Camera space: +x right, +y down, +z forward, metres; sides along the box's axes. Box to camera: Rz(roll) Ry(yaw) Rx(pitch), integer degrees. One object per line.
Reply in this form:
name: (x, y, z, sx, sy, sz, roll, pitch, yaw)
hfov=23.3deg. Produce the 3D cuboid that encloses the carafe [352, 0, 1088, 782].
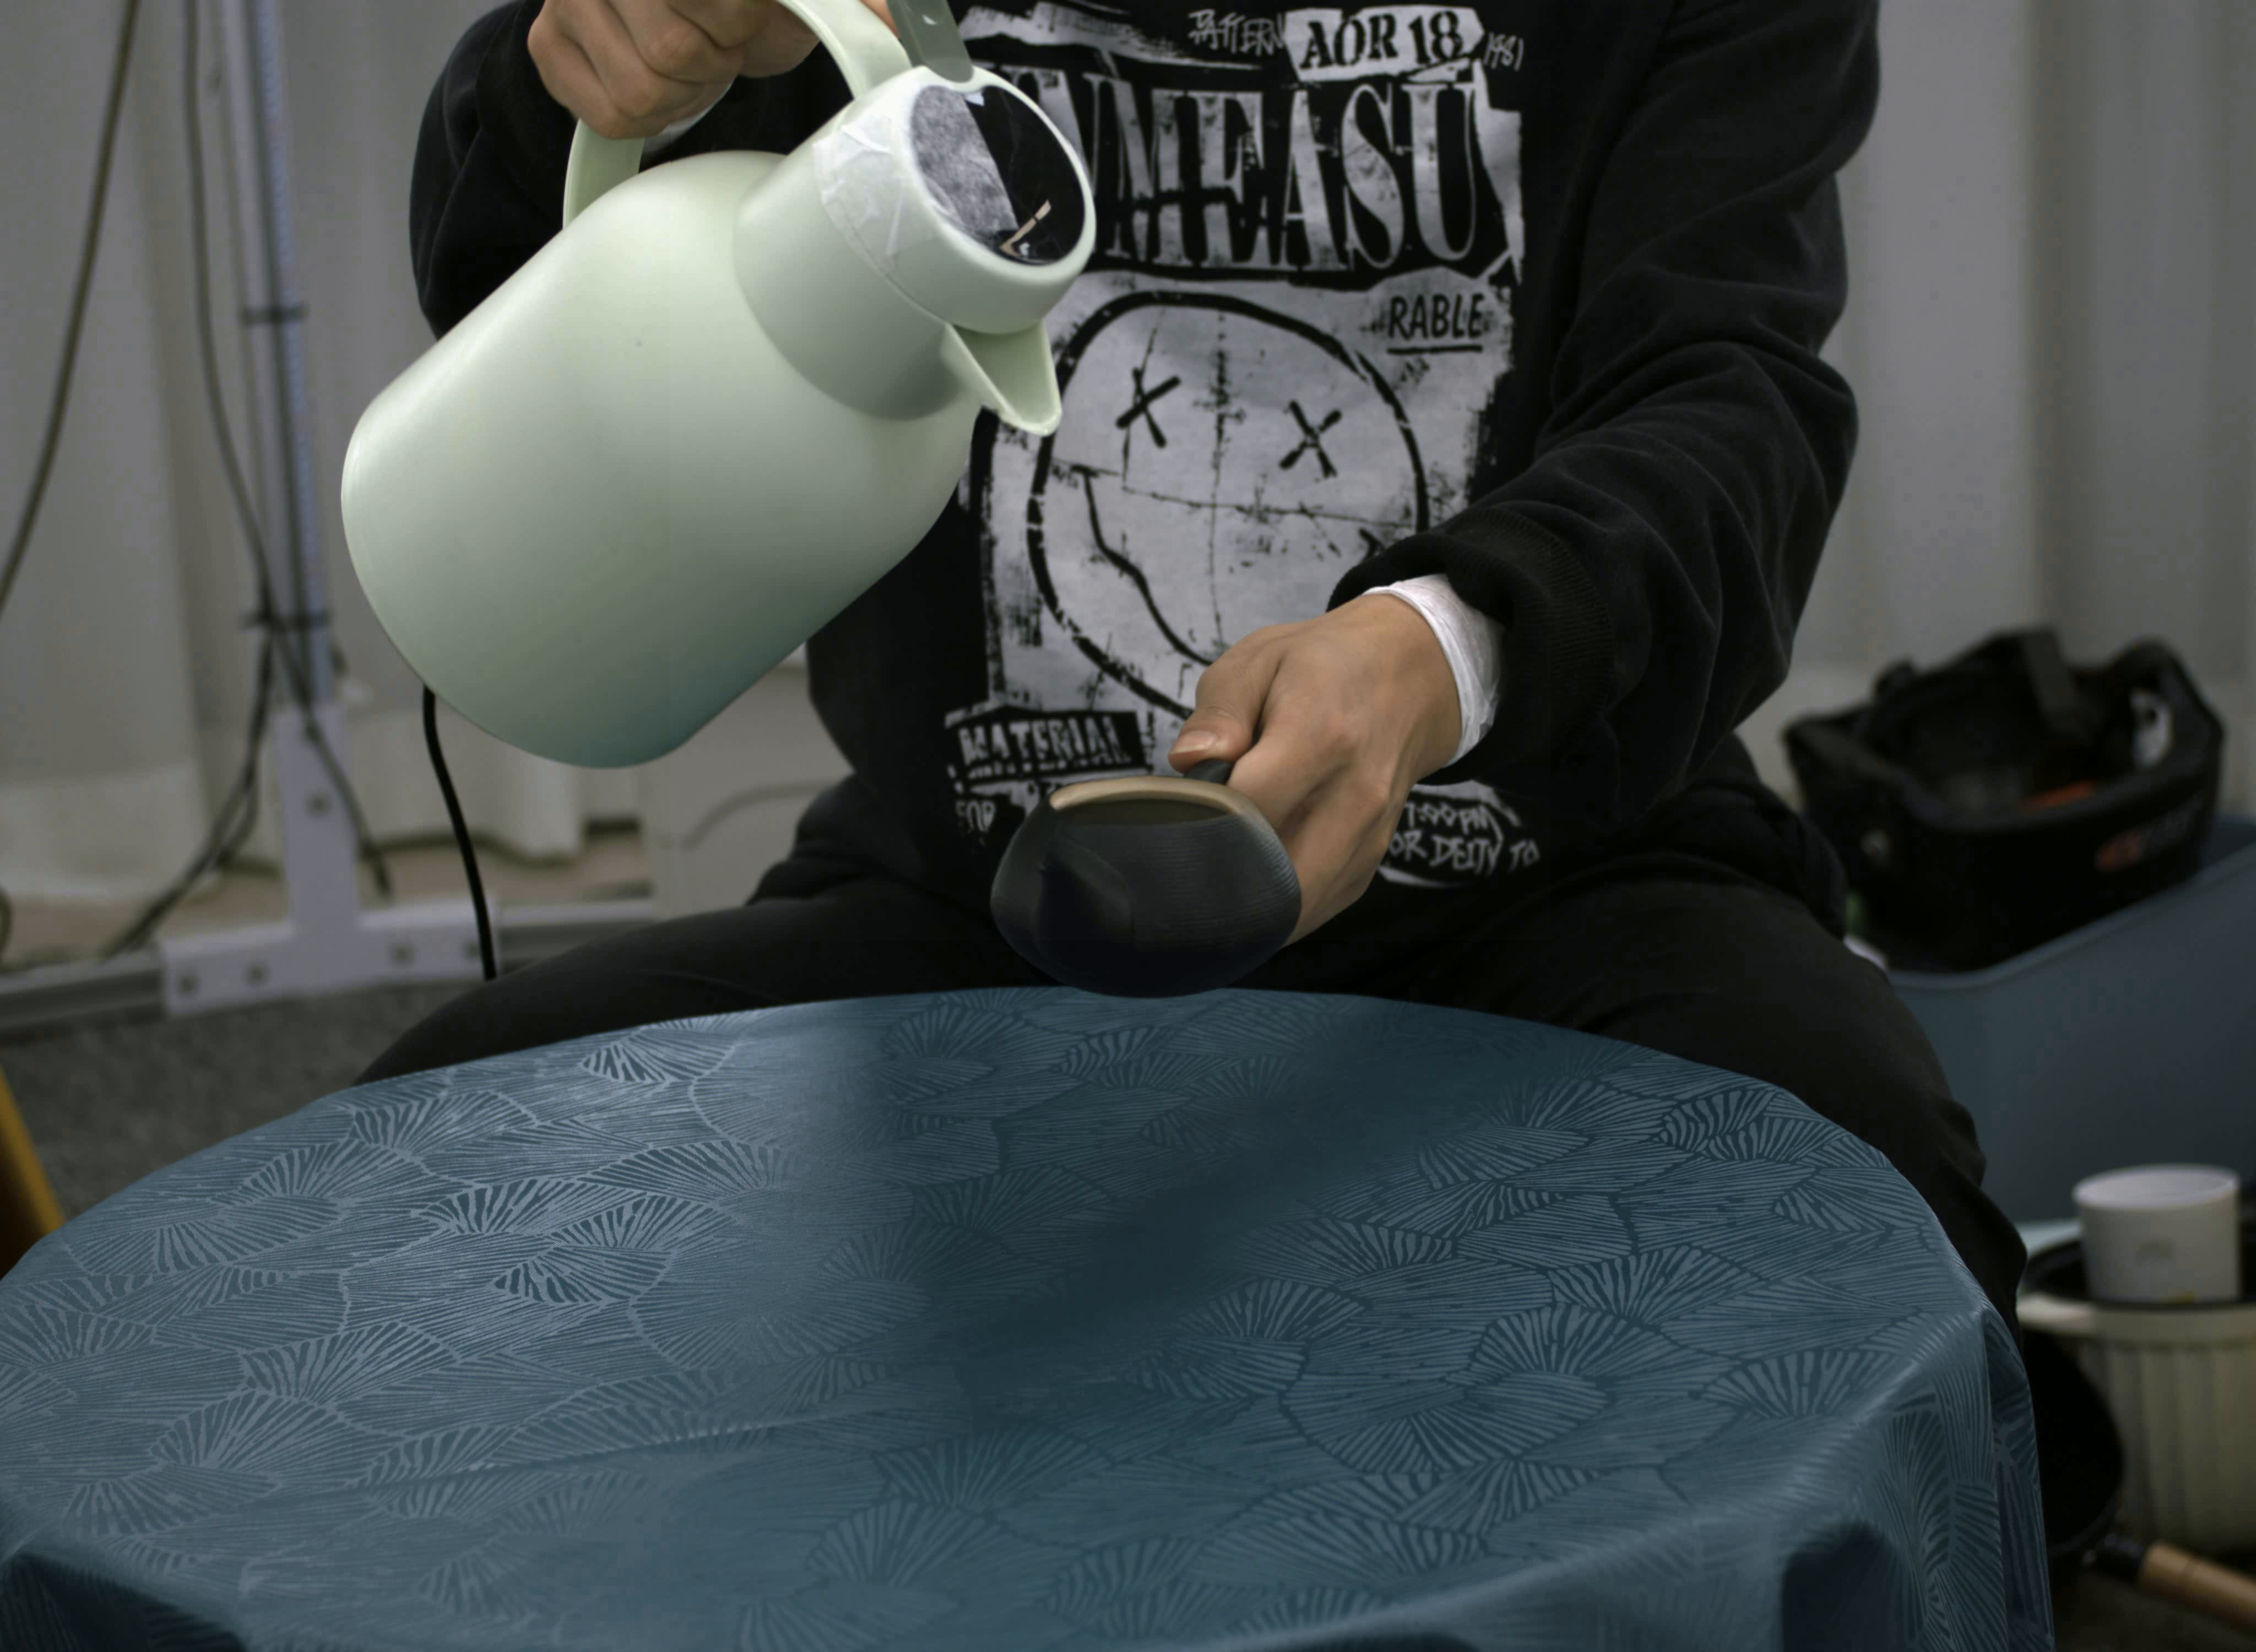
carafe: (-0.121, -0.143, 1.650, 0.143, 0.188, 0.255, -9, -25, -46)

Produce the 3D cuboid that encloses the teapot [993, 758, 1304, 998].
teapot: (0.006, 0.017, 1.590, 0.091, 0.053, 0.133, 8, 17, 23)
